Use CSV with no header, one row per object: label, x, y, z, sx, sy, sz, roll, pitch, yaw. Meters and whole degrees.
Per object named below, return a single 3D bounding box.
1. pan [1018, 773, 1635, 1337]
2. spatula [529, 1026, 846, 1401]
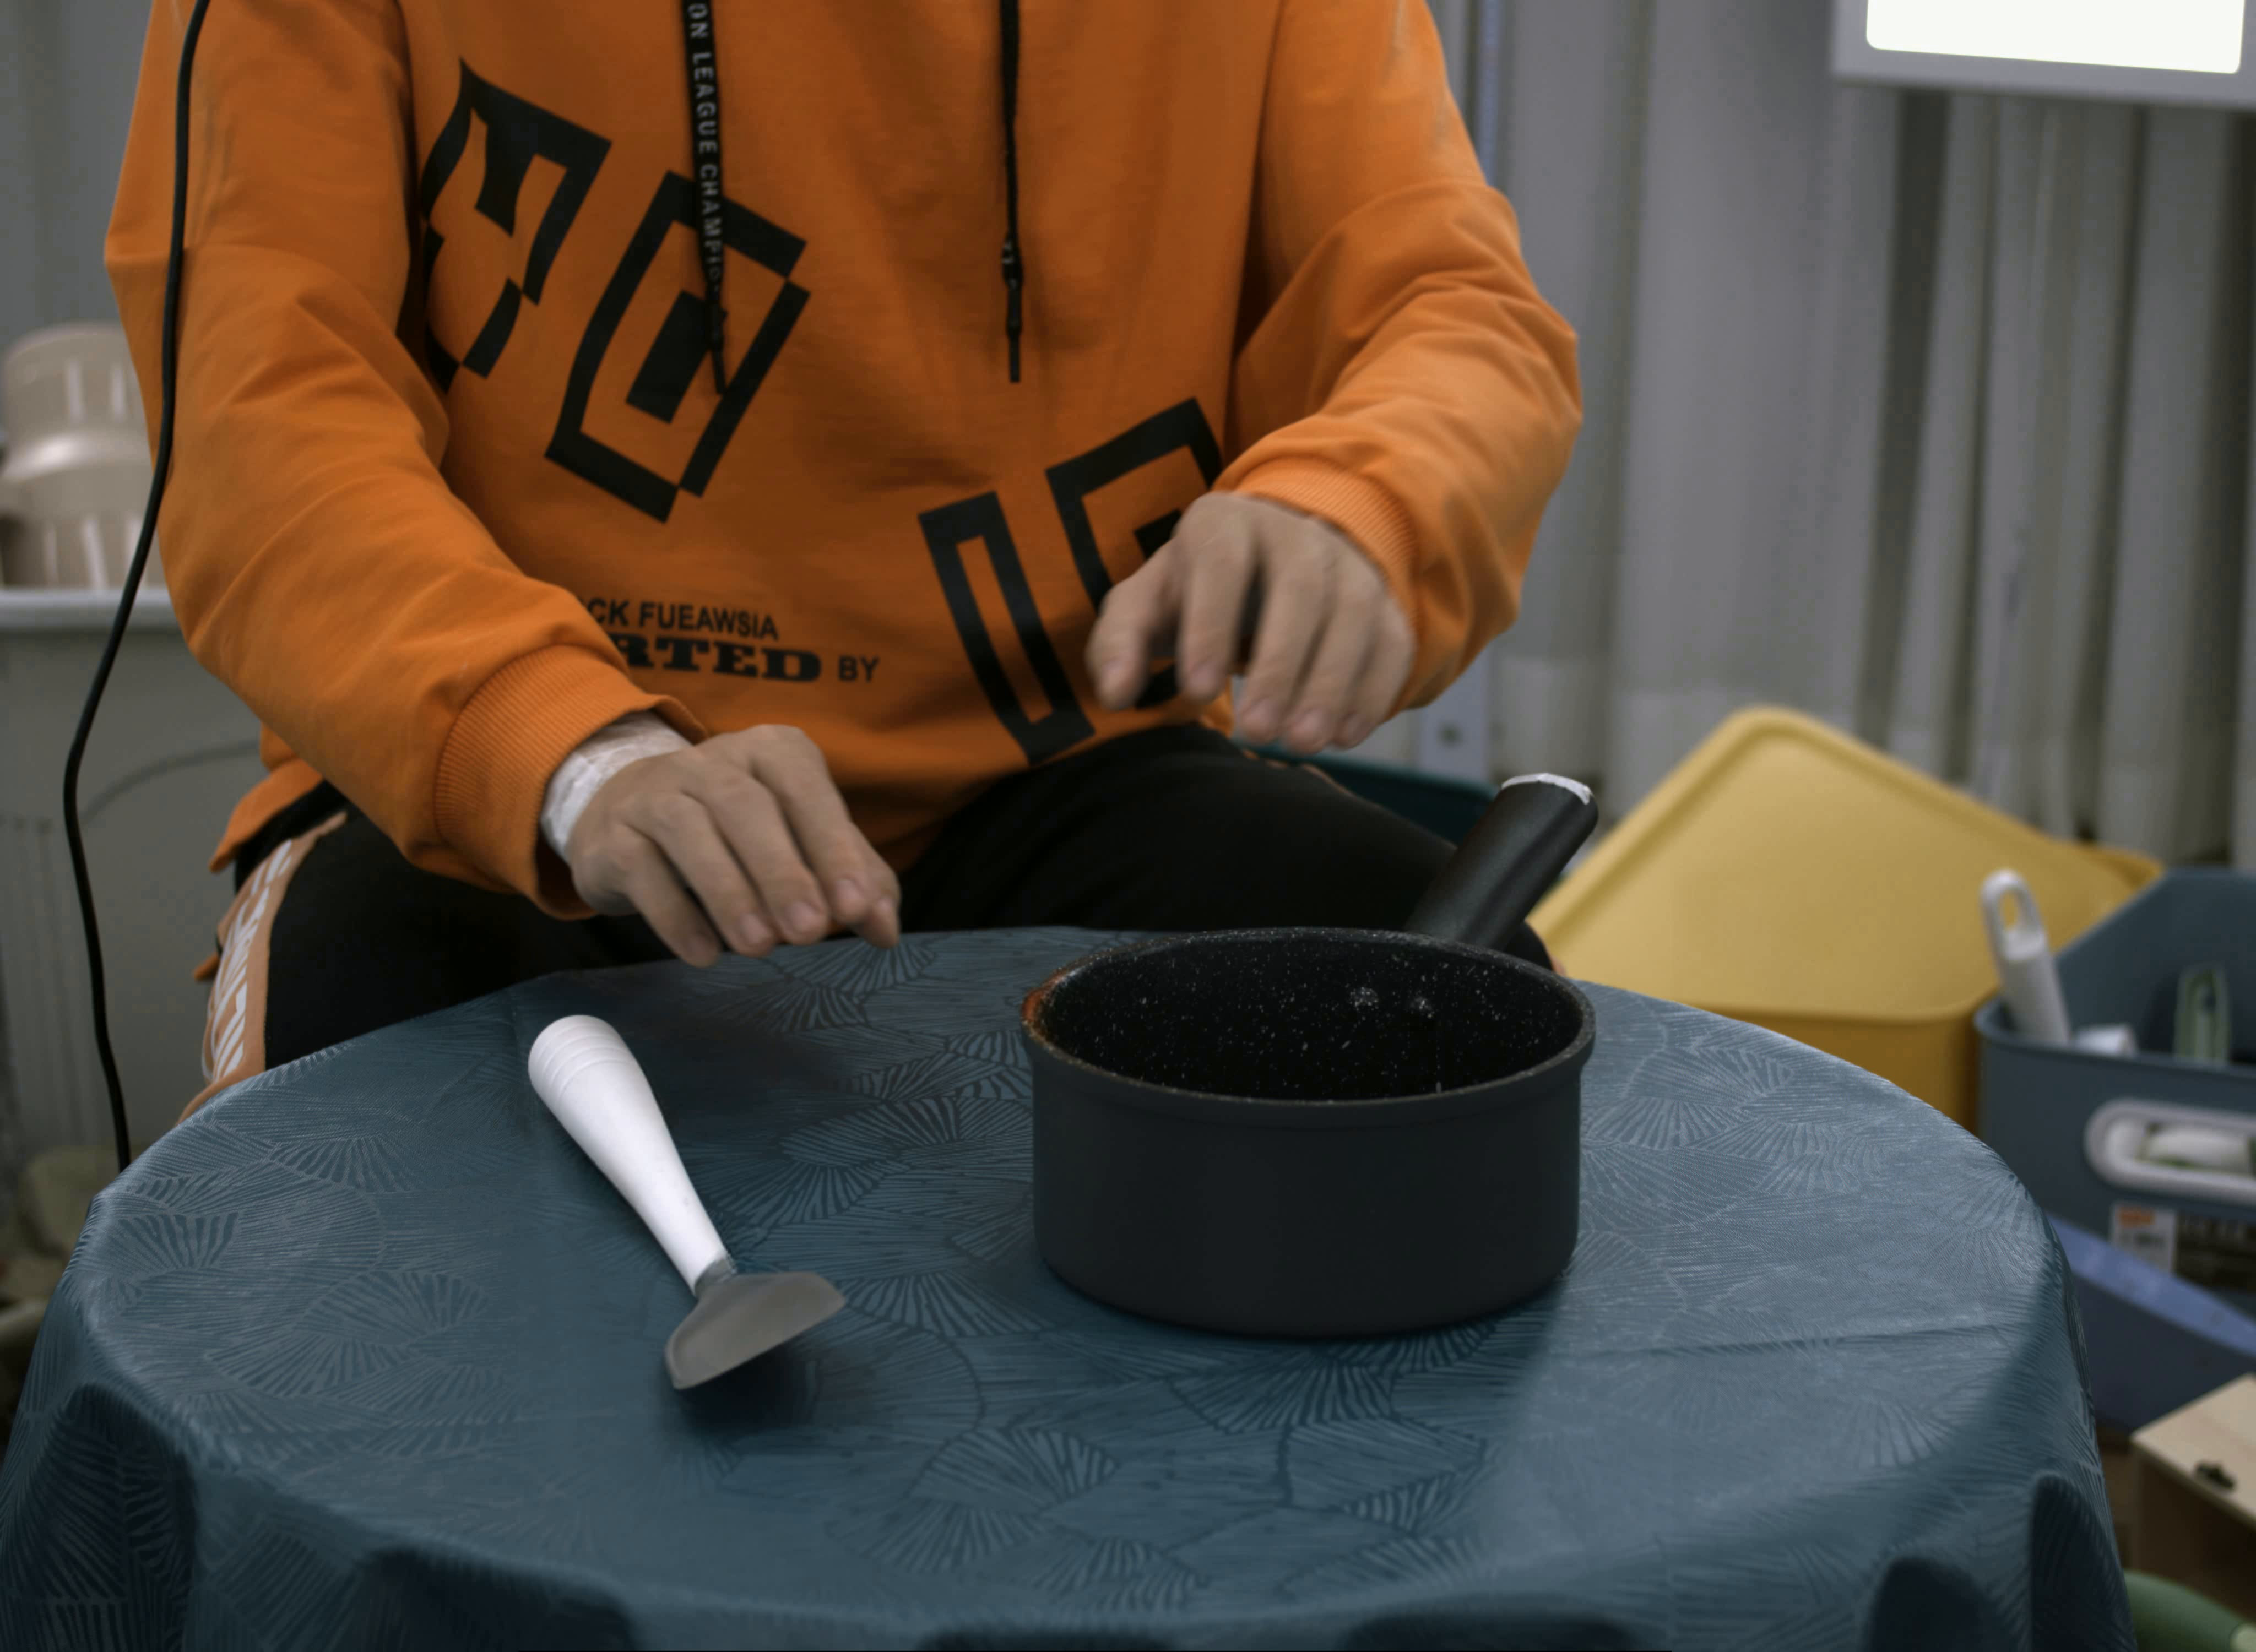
pan,0.085,0.066,1.632,0.170,0.087,0.329,8,19,23
spatula,-0.135,0.114,1.552,0.058,0.032,0.284,-24,20,-10
